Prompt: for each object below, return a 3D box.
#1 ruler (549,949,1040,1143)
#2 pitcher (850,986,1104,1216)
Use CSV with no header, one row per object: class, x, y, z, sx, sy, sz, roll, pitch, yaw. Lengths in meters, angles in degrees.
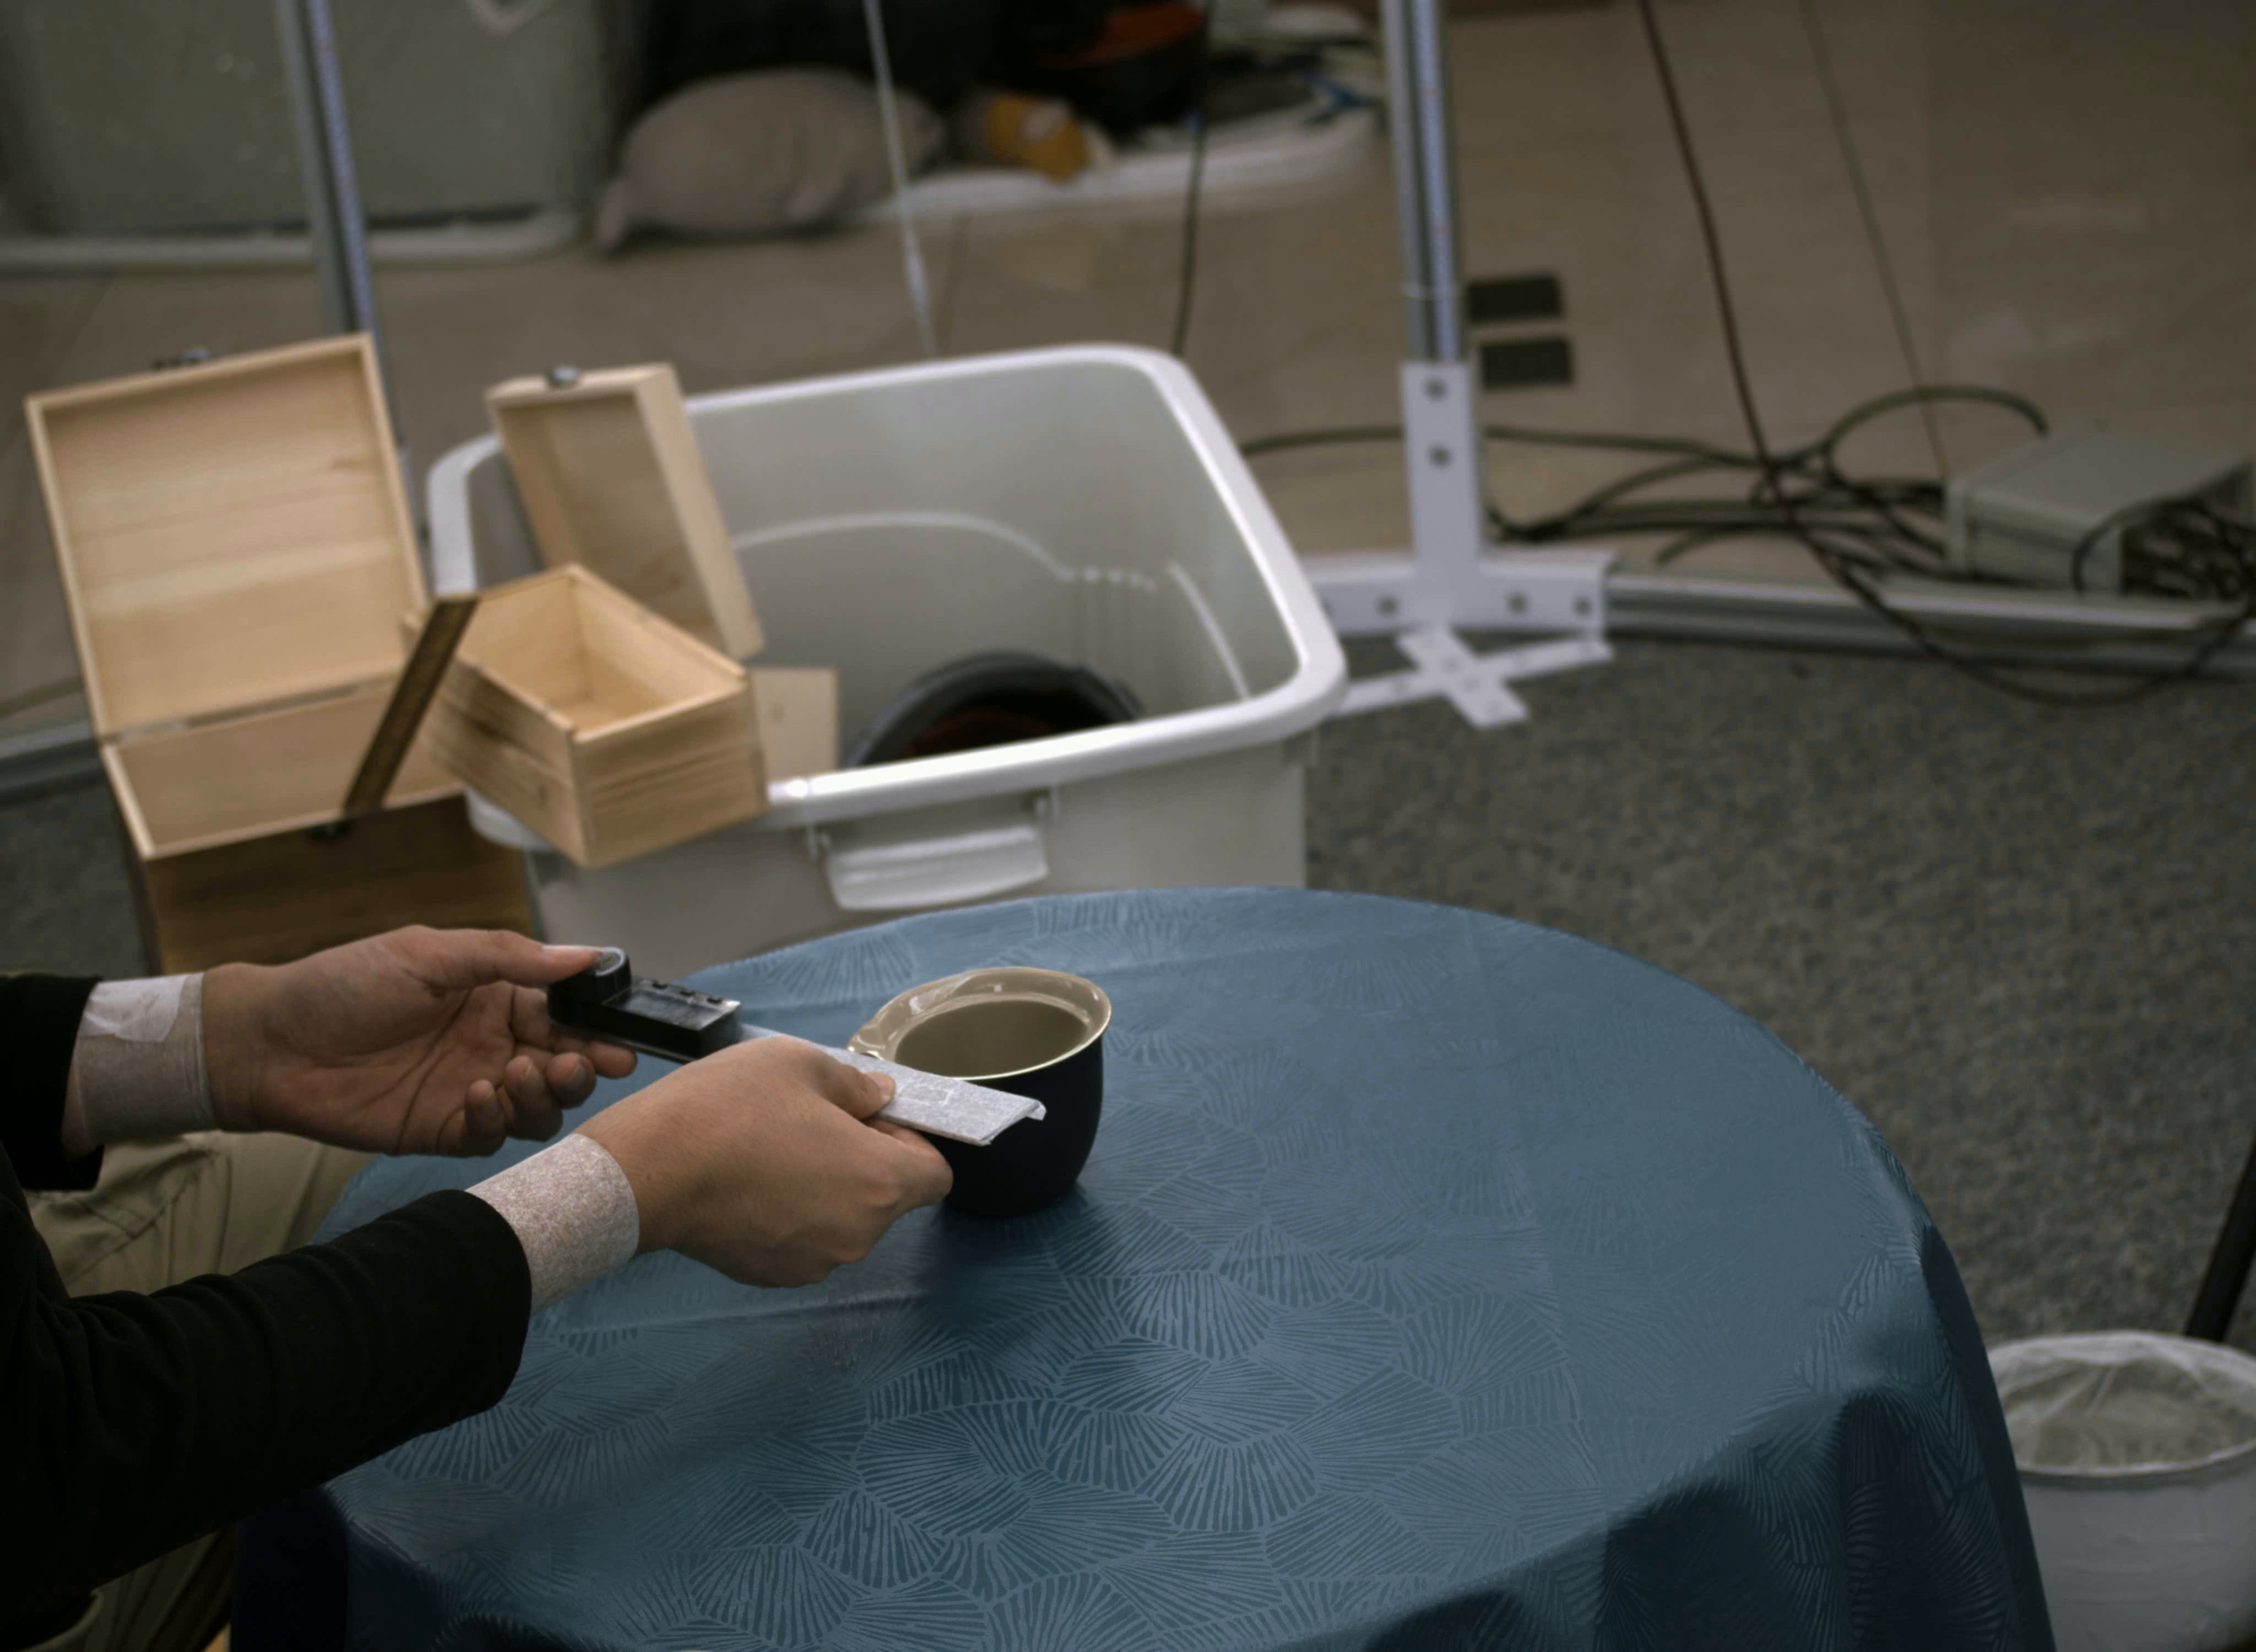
ruler,-0.130,0.080,2.107,0.217,0.024,0.038,12,36,35
pitcher,-0.054,0.106,2.145,0.096,0.072,0.082,-7,26,-2
